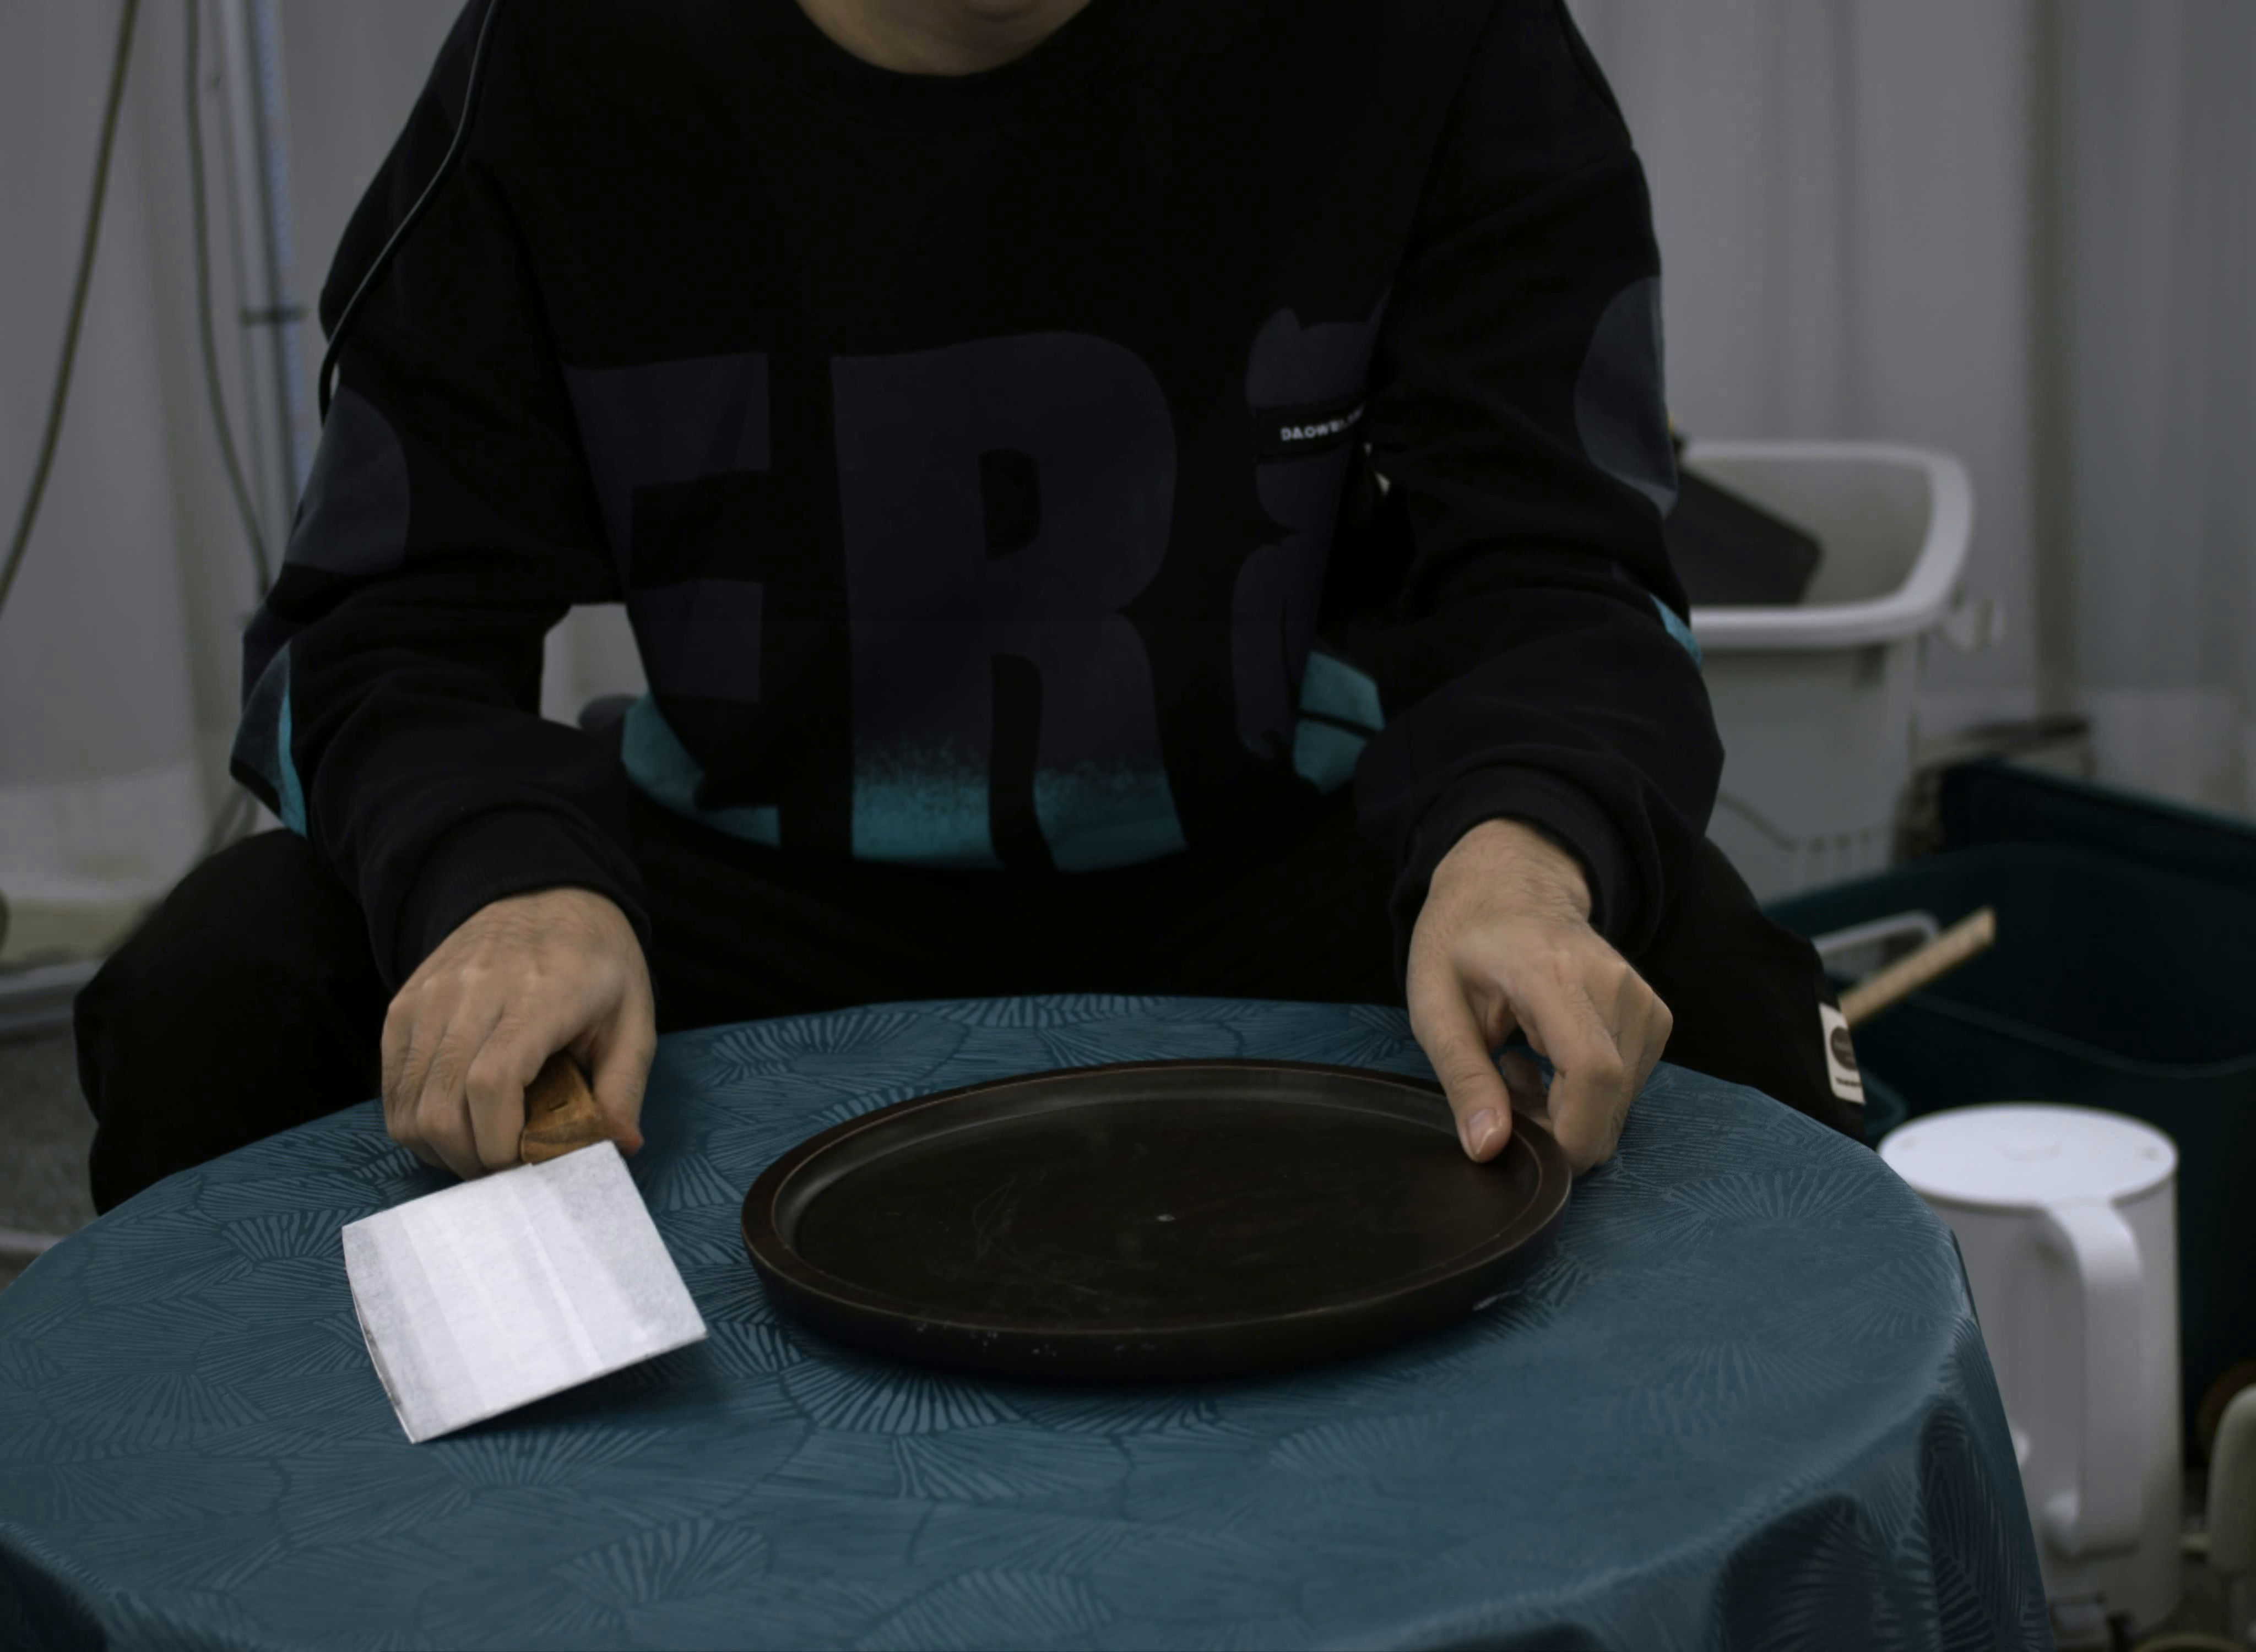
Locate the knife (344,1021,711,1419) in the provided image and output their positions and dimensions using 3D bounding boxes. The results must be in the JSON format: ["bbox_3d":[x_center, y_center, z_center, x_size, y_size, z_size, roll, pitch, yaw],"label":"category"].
[{"bbox_3d":[-0.194,0.121,1.684,0.092,0.021,0.308,-19,18,-9],"label":"knife"}]

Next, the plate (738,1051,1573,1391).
[{"bbox_3d":[0.009,0.118,1.652,0.254,0.029,0.256,-4,16,1],"label":"plate"}]
